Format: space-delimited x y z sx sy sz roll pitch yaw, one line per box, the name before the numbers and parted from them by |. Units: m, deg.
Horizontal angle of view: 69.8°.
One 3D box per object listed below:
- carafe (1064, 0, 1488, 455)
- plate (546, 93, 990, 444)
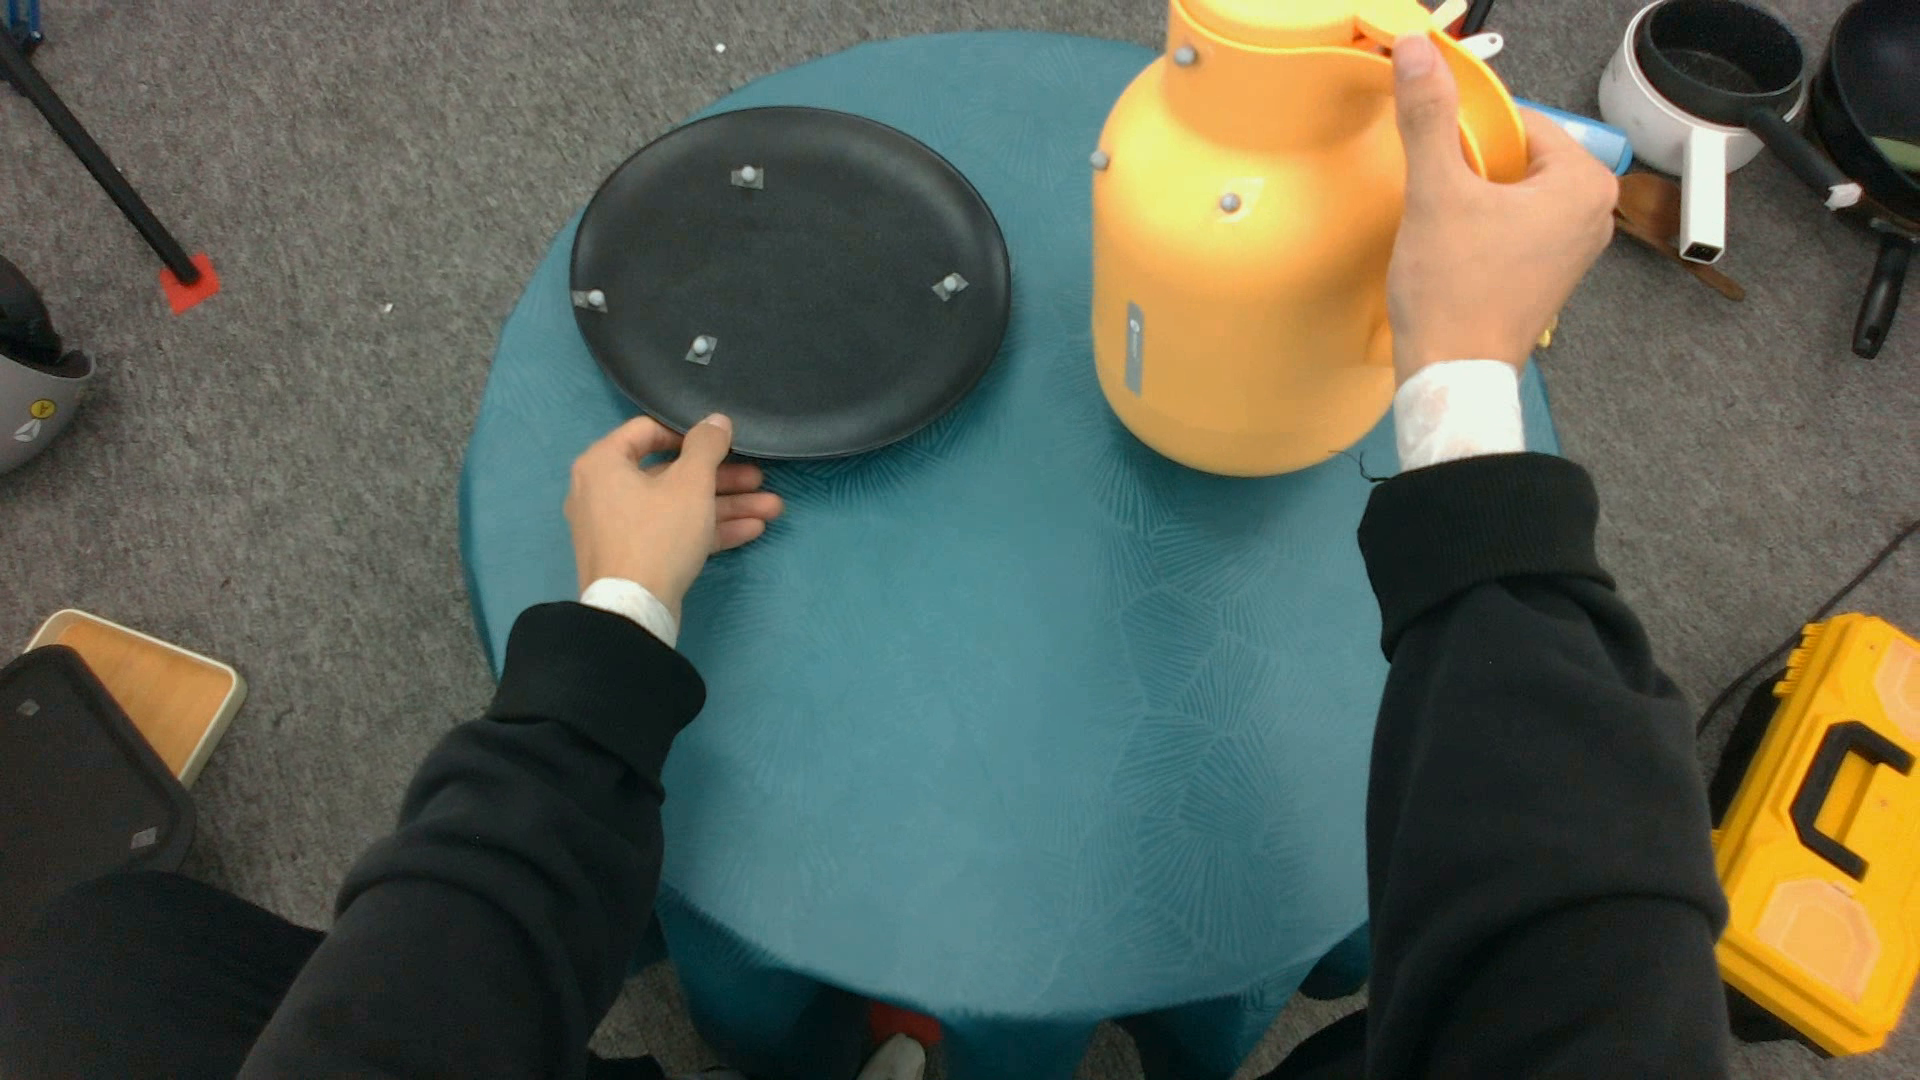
carafe | 0.142 -0.158 0.644 0.164 0.259 0.202 -38 58 -16
plate | -0.105 -0.153 0.770 0.244 0.023 0.245 3 62 -6
